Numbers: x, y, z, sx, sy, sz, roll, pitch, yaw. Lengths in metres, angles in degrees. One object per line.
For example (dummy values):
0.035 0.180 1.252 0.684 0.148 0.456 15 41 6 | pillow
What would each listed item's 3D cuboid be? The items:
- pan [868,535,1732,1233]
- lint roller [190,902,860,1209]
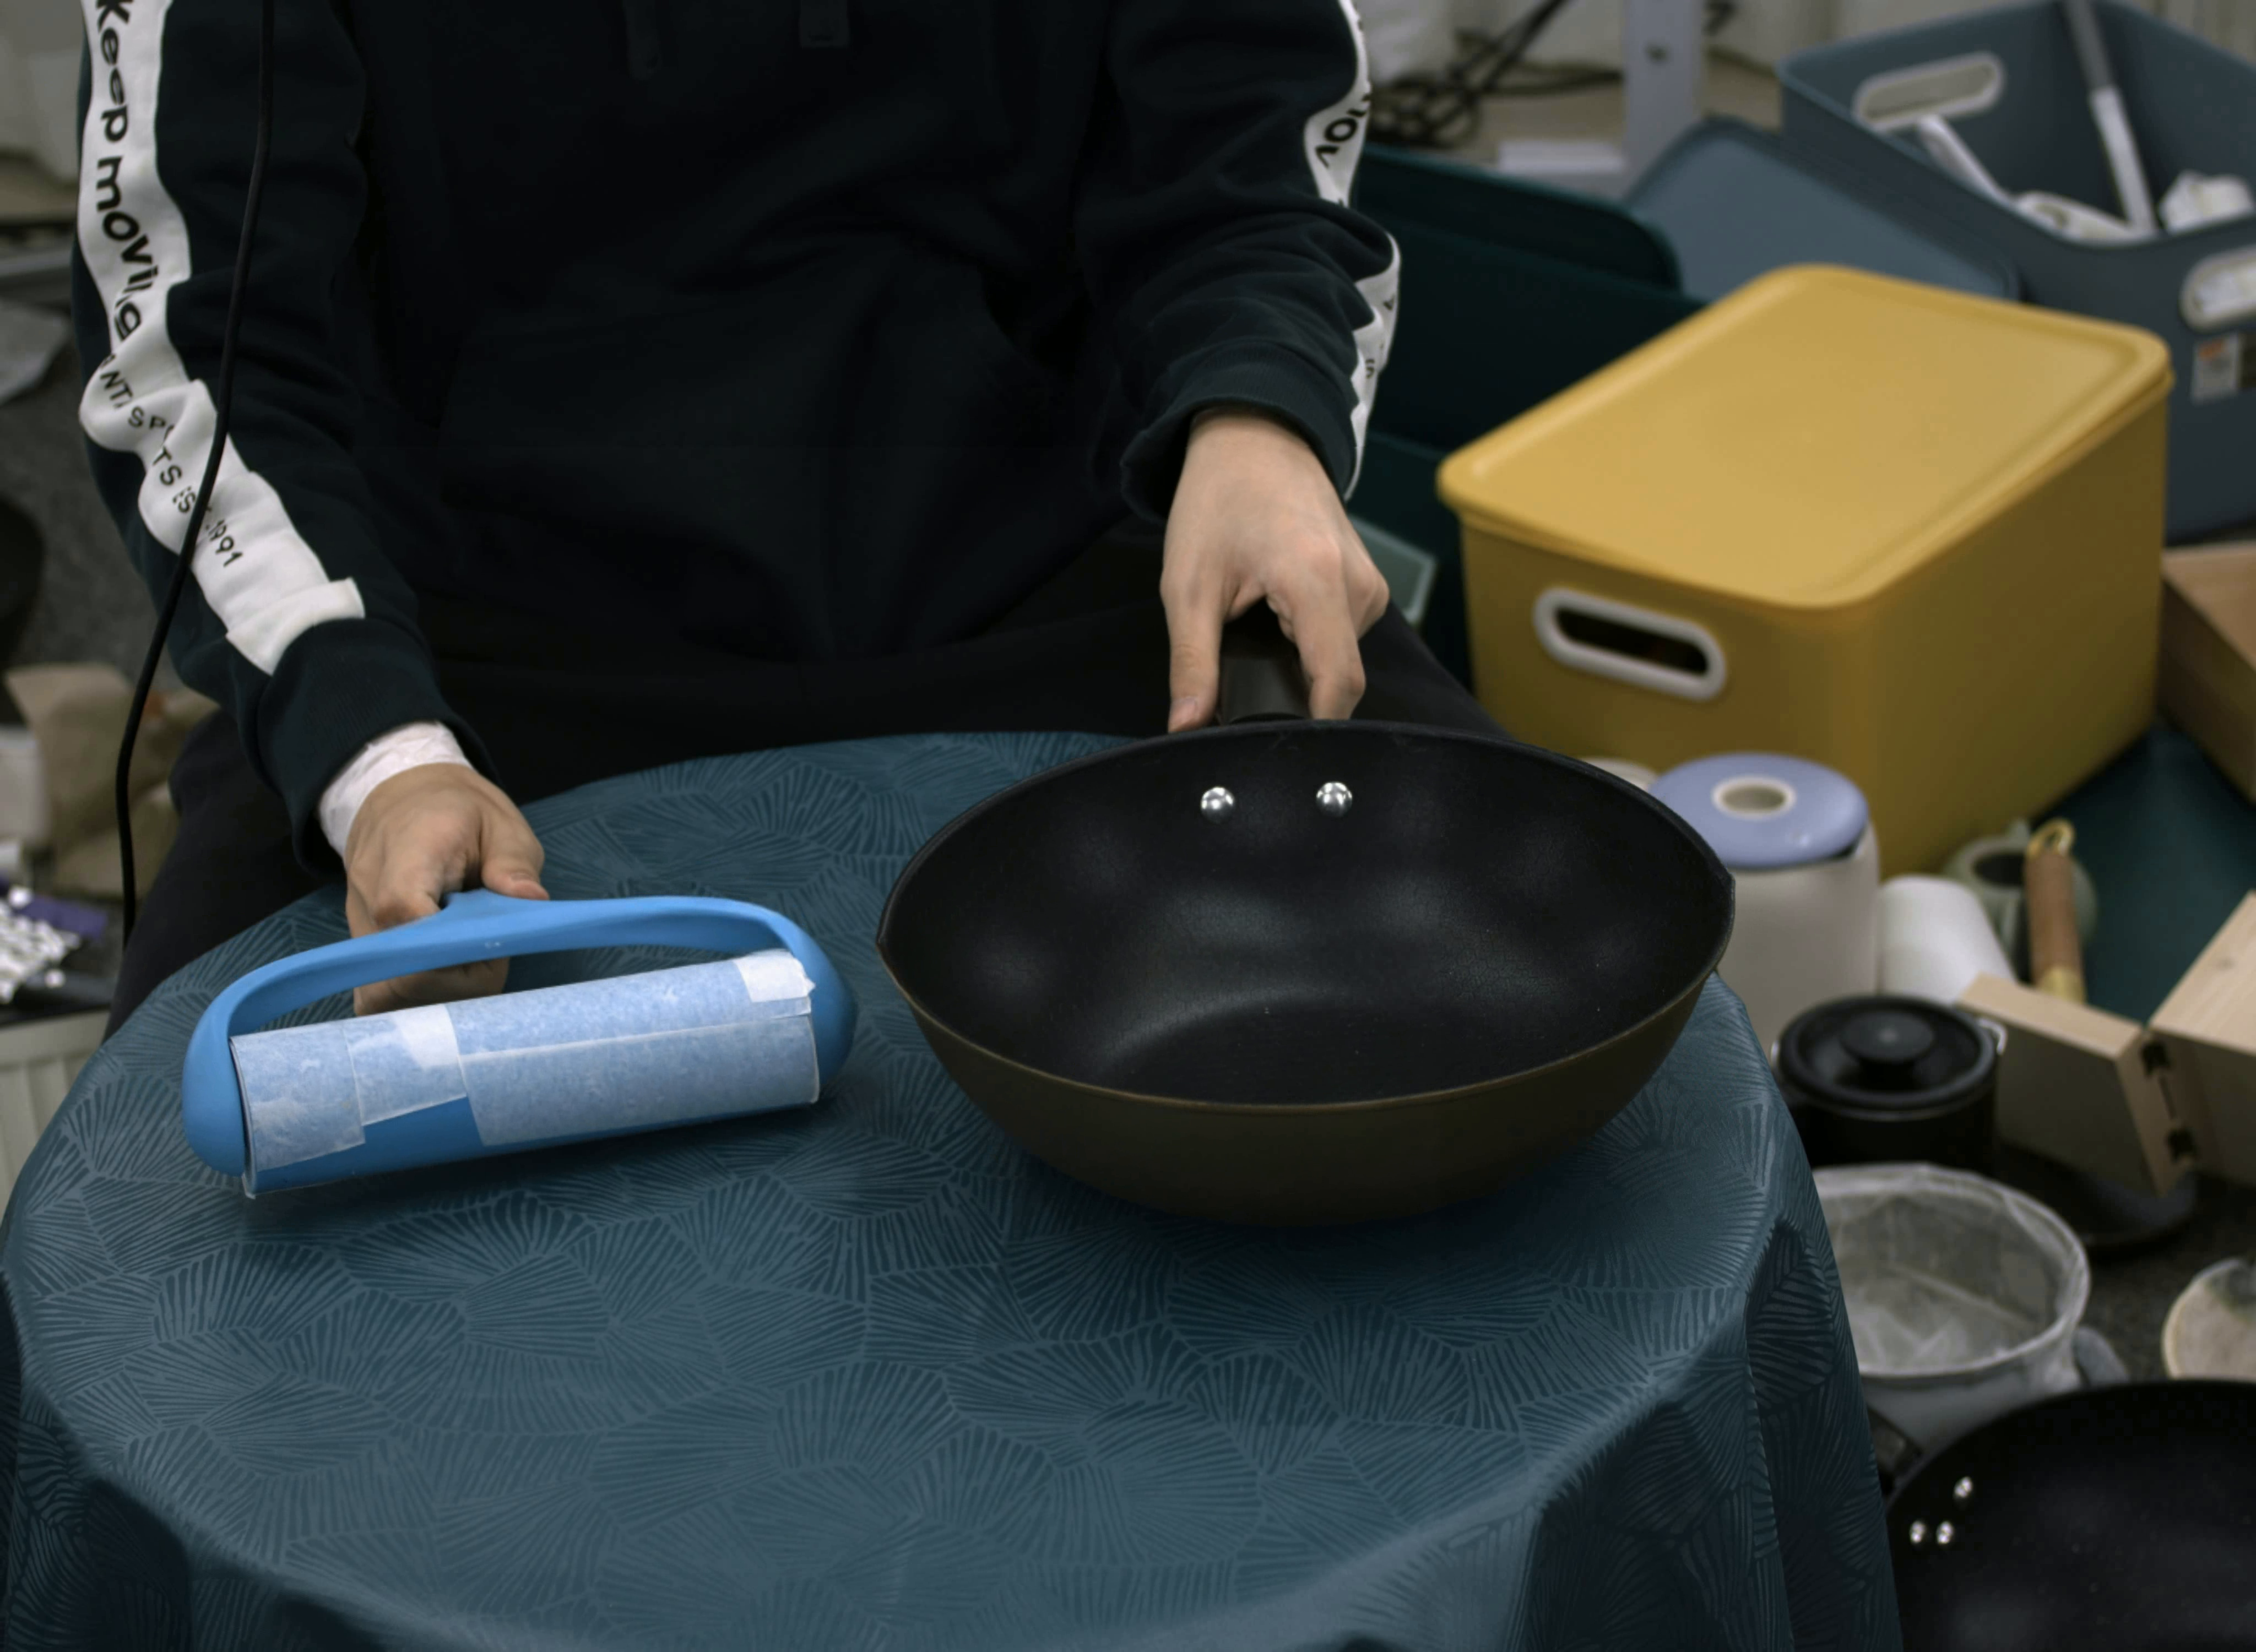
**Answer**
0.054 0.022 1.962 0.287 0.086 0.469 -3 25 -2 | pan
-0.222 0.060 1.934 0.229 0.067 0.181 -12 28 -18 | lint roller
